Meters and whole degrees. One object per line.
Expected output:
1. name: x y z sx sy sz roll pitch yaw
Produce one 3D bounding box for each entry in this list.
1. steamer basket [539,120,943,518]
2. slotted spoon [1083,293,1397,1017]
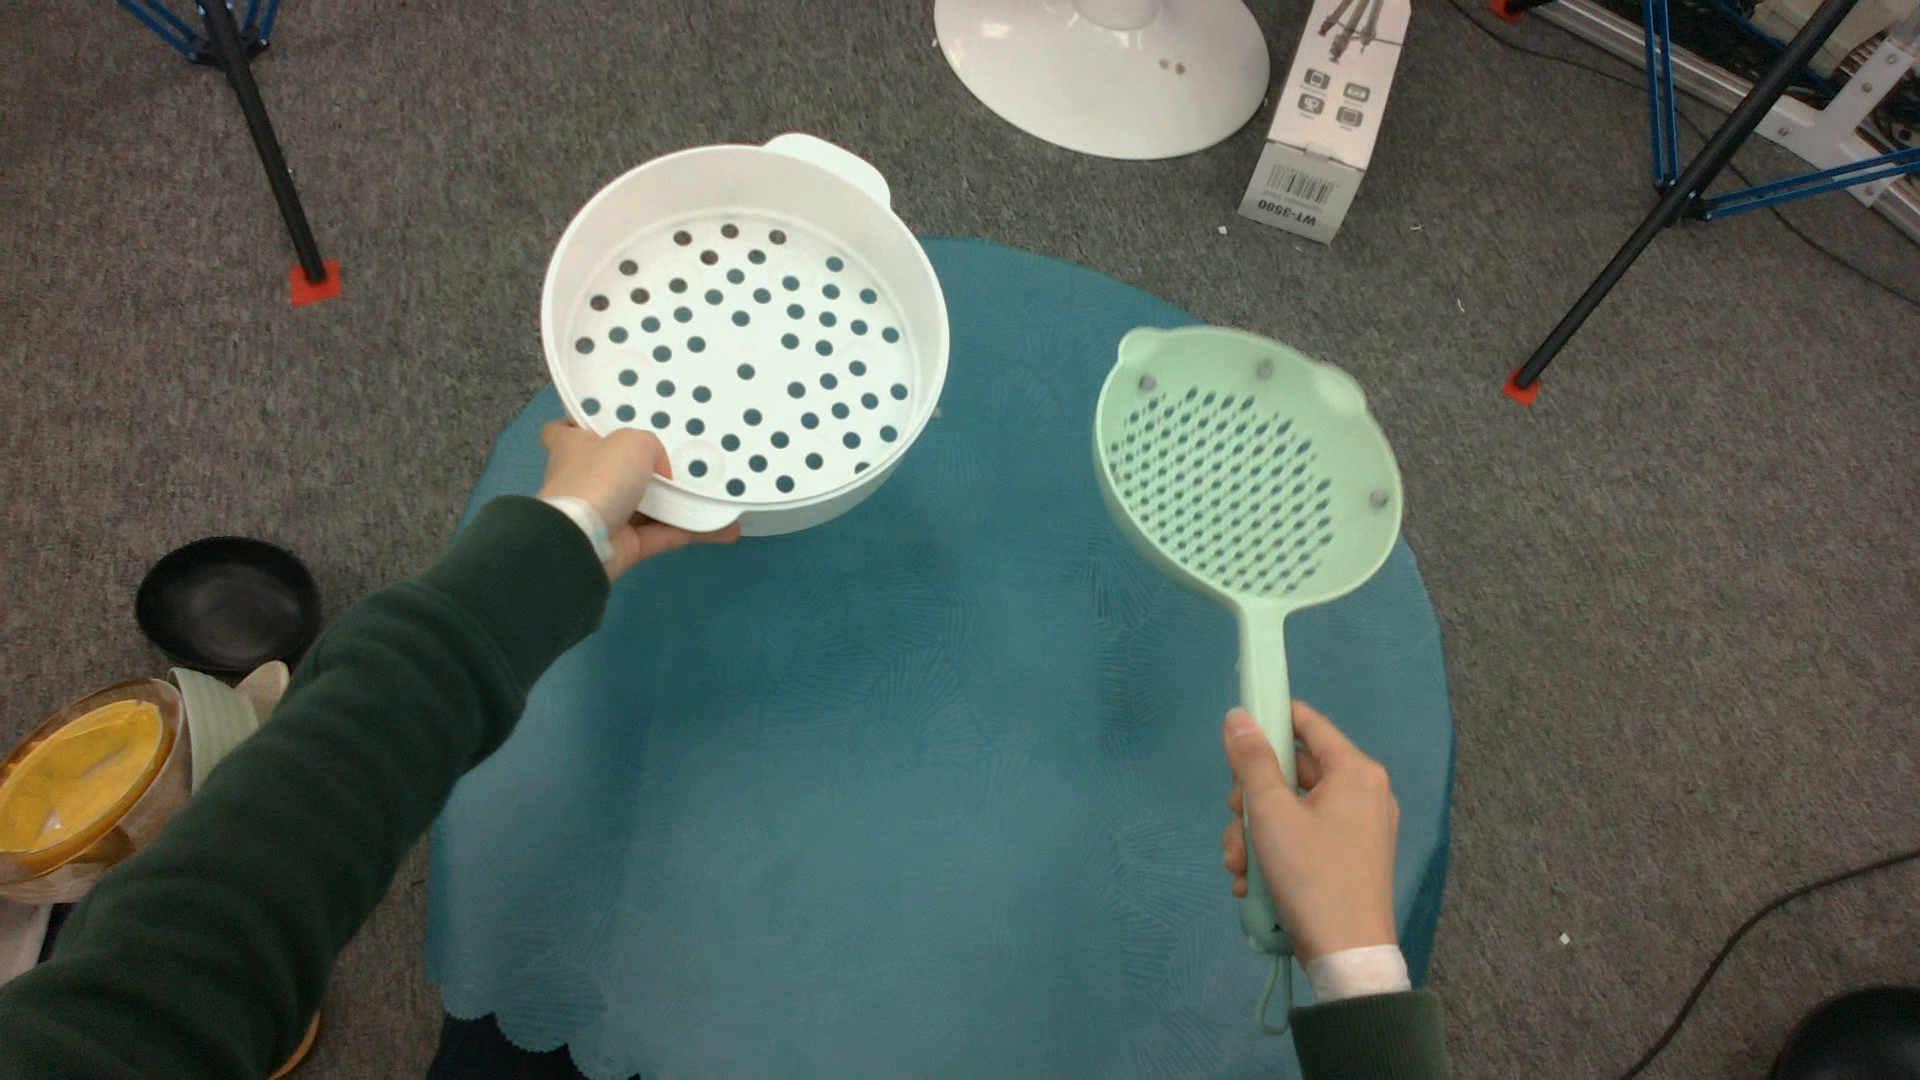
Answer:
1. steamer basket: -0.113 -0.110 0.721 0.202 0.069 0.231 22 68 -5
2. slotted spoon: 0.136 0.035 0.658 0.169 0.075 0.360 9 53 -10
